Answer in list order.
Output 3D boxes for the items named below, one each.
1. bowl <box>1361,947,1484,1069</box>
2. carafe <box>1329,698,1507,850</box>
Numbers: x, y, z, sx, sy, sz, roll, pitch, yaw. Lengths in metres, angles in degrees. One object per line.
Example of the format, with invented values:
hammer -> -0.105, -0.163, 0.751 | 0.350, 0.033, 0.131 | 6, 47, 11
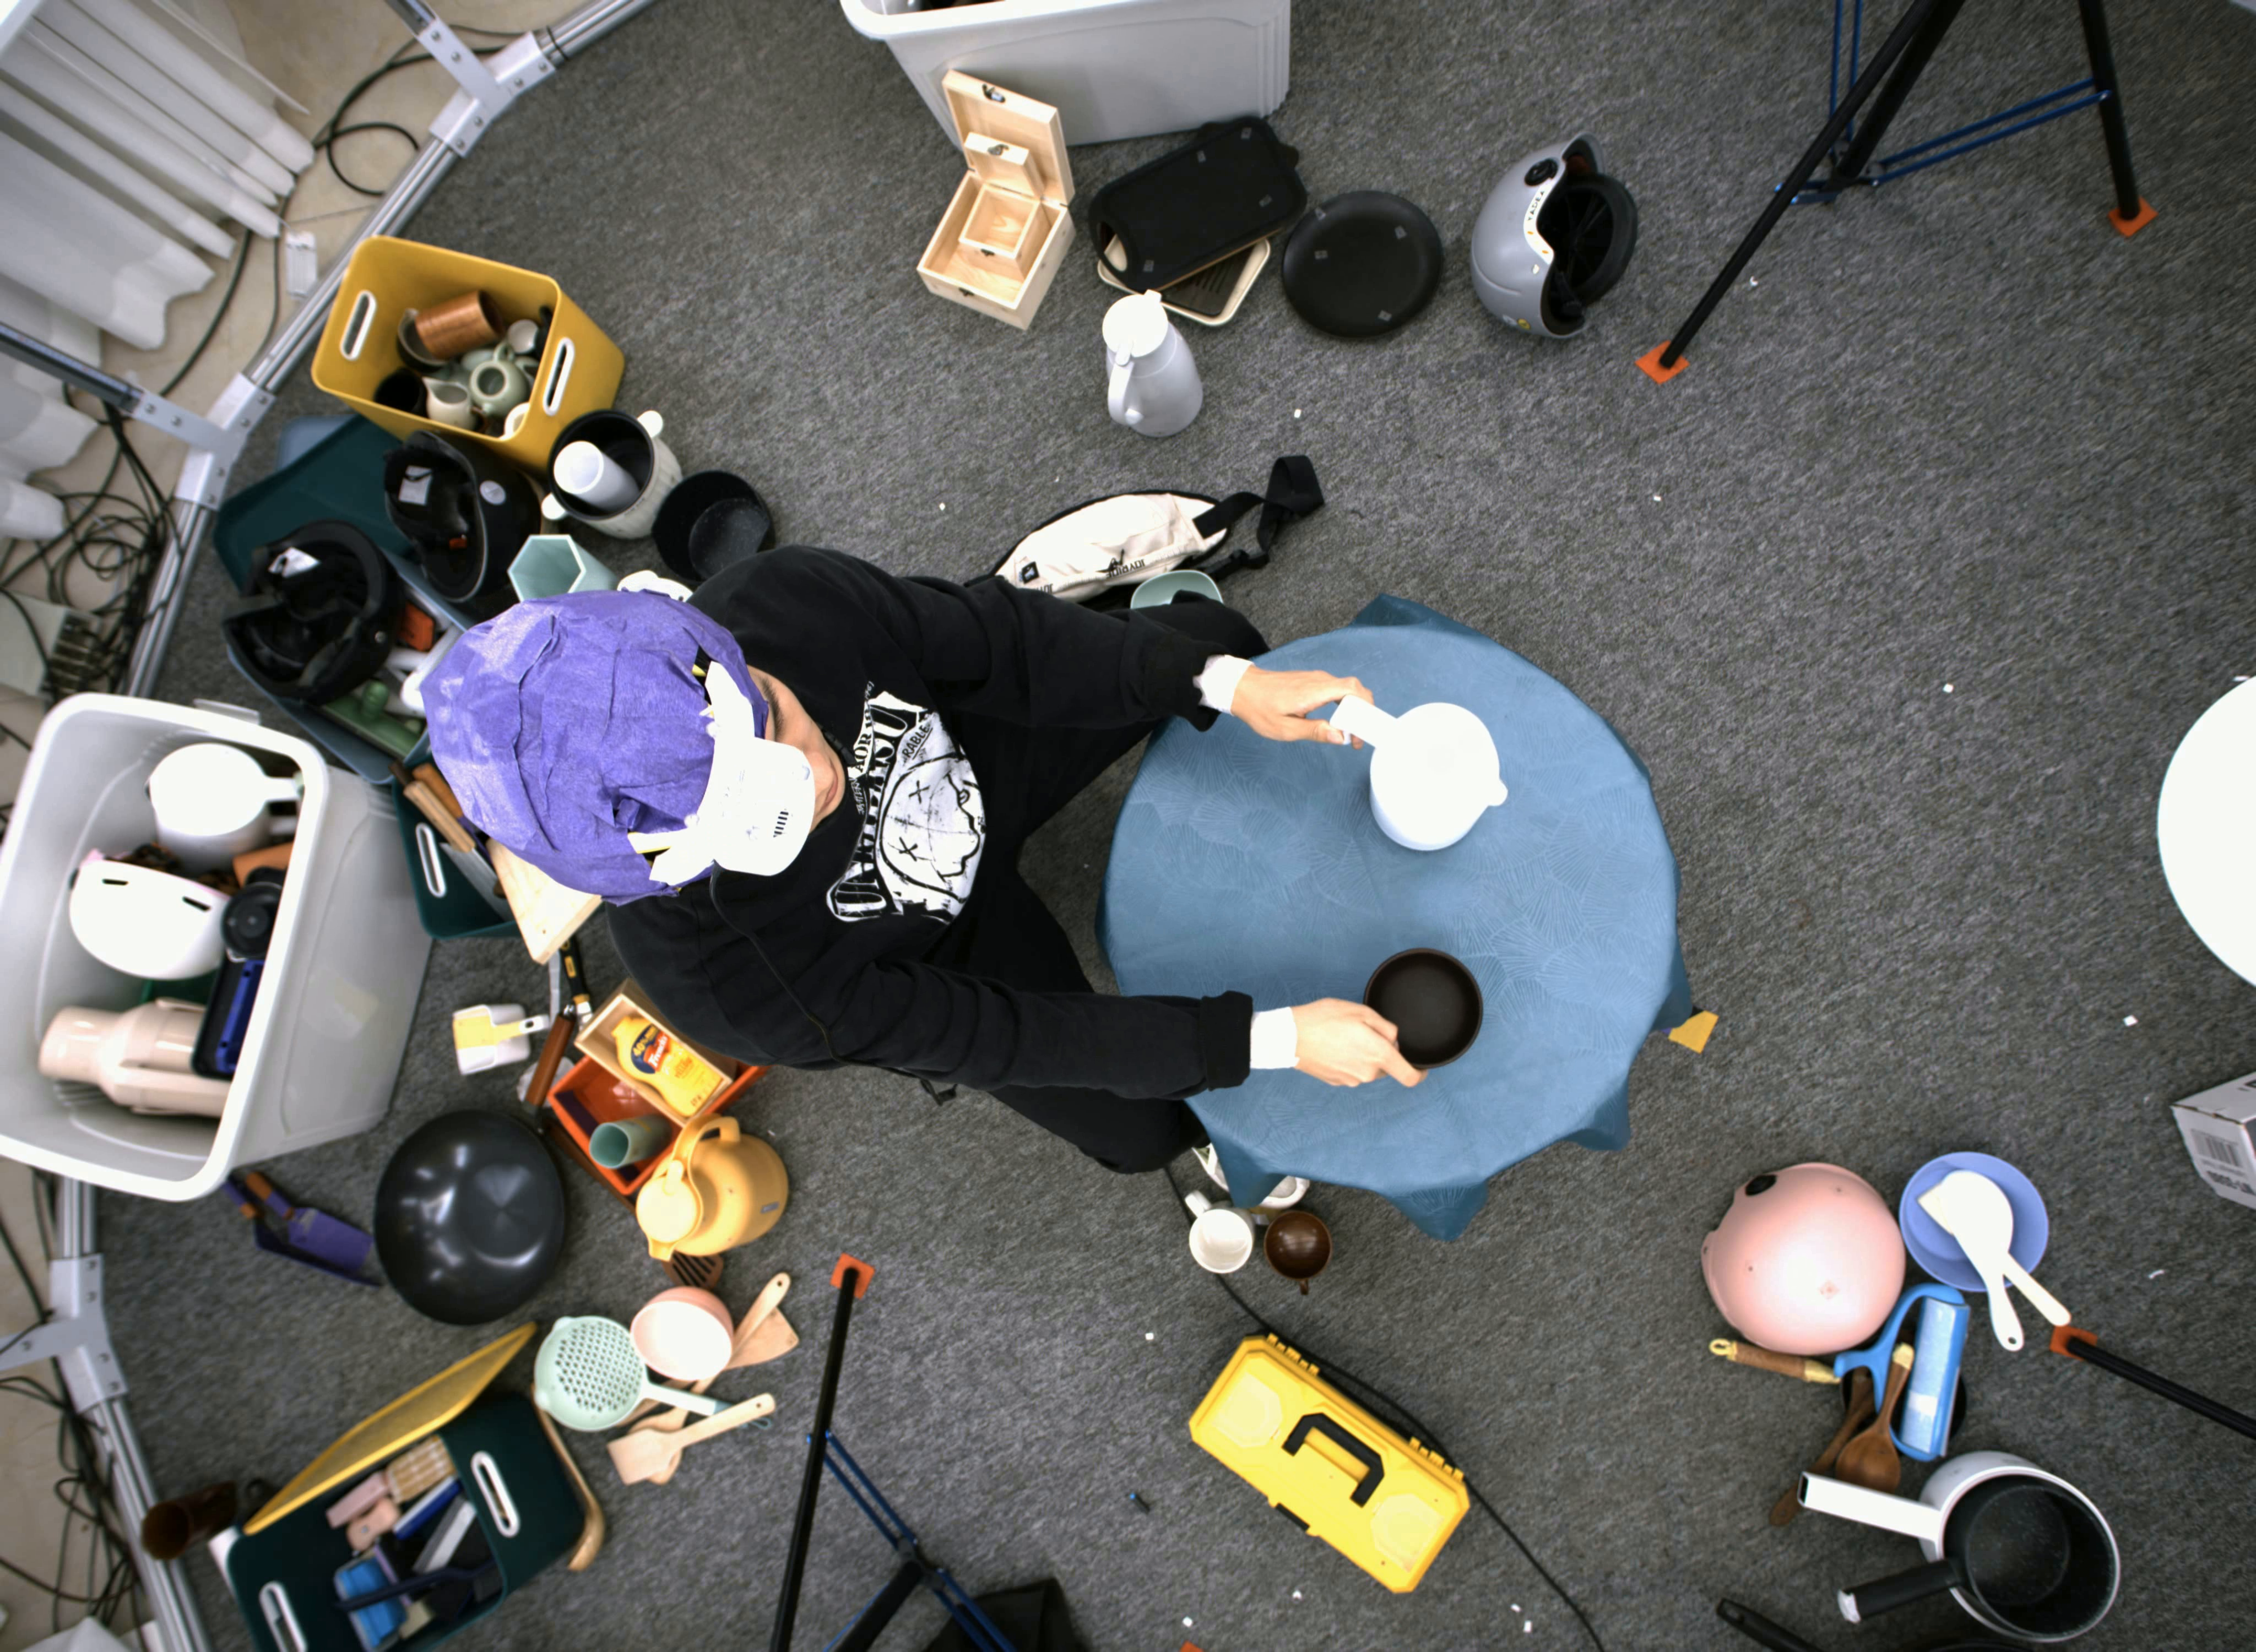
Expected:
bowl -> 0.289, 0.177, 1.359 | 0.118, 0.070, 0.117 | -1, 86, 11
carafe -> 0.276, -0.054, 1.331 | 0.172, 0.268, 0.124 | 30, 93, 11
